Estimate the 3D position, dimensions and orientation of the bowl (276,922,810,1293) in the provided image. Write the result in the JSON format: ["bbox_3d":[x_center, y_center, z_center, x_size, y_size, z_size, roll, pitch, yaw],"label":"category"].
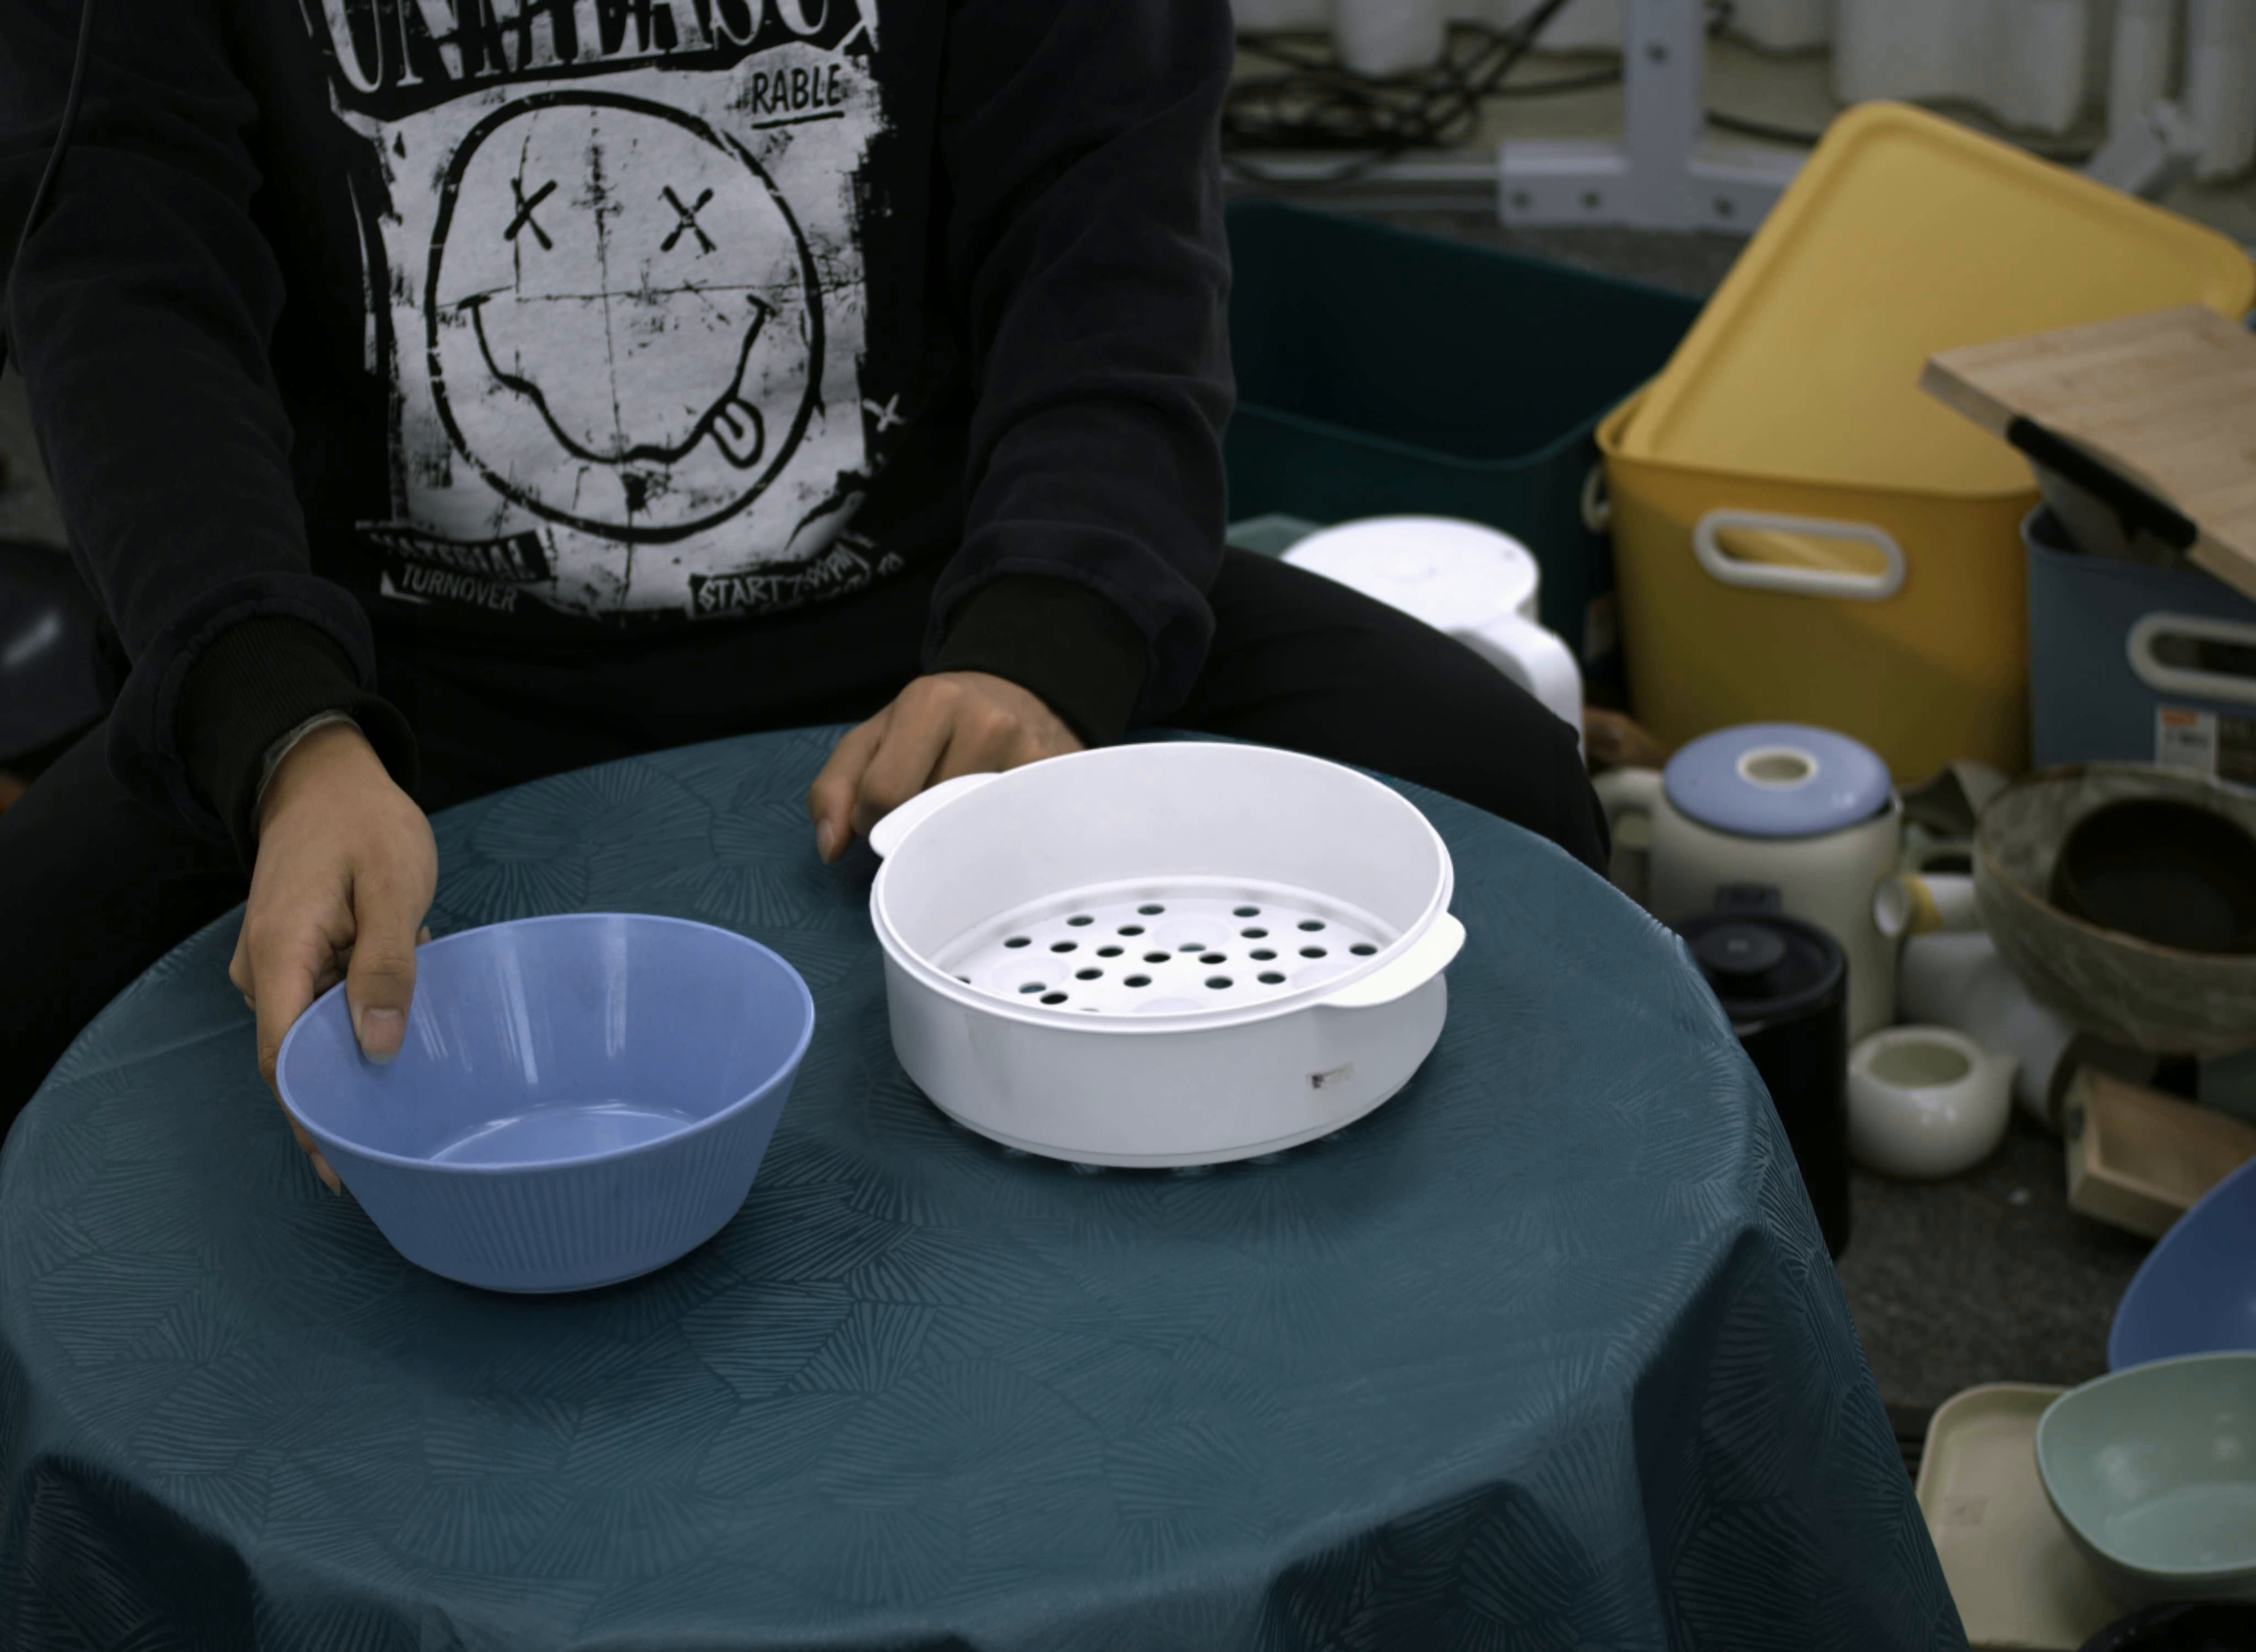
[{"bbox_3d":[-0.189,0.098,1.846,0.175,0.069,0.178,-3,24,2],"label":"bowl"}]

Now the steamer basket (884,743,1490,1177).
[{"bbox_3d":[0.019,0.046,1.932,0.230,0.068,0.205,19,35,33],"label":"steamer basket"}]
